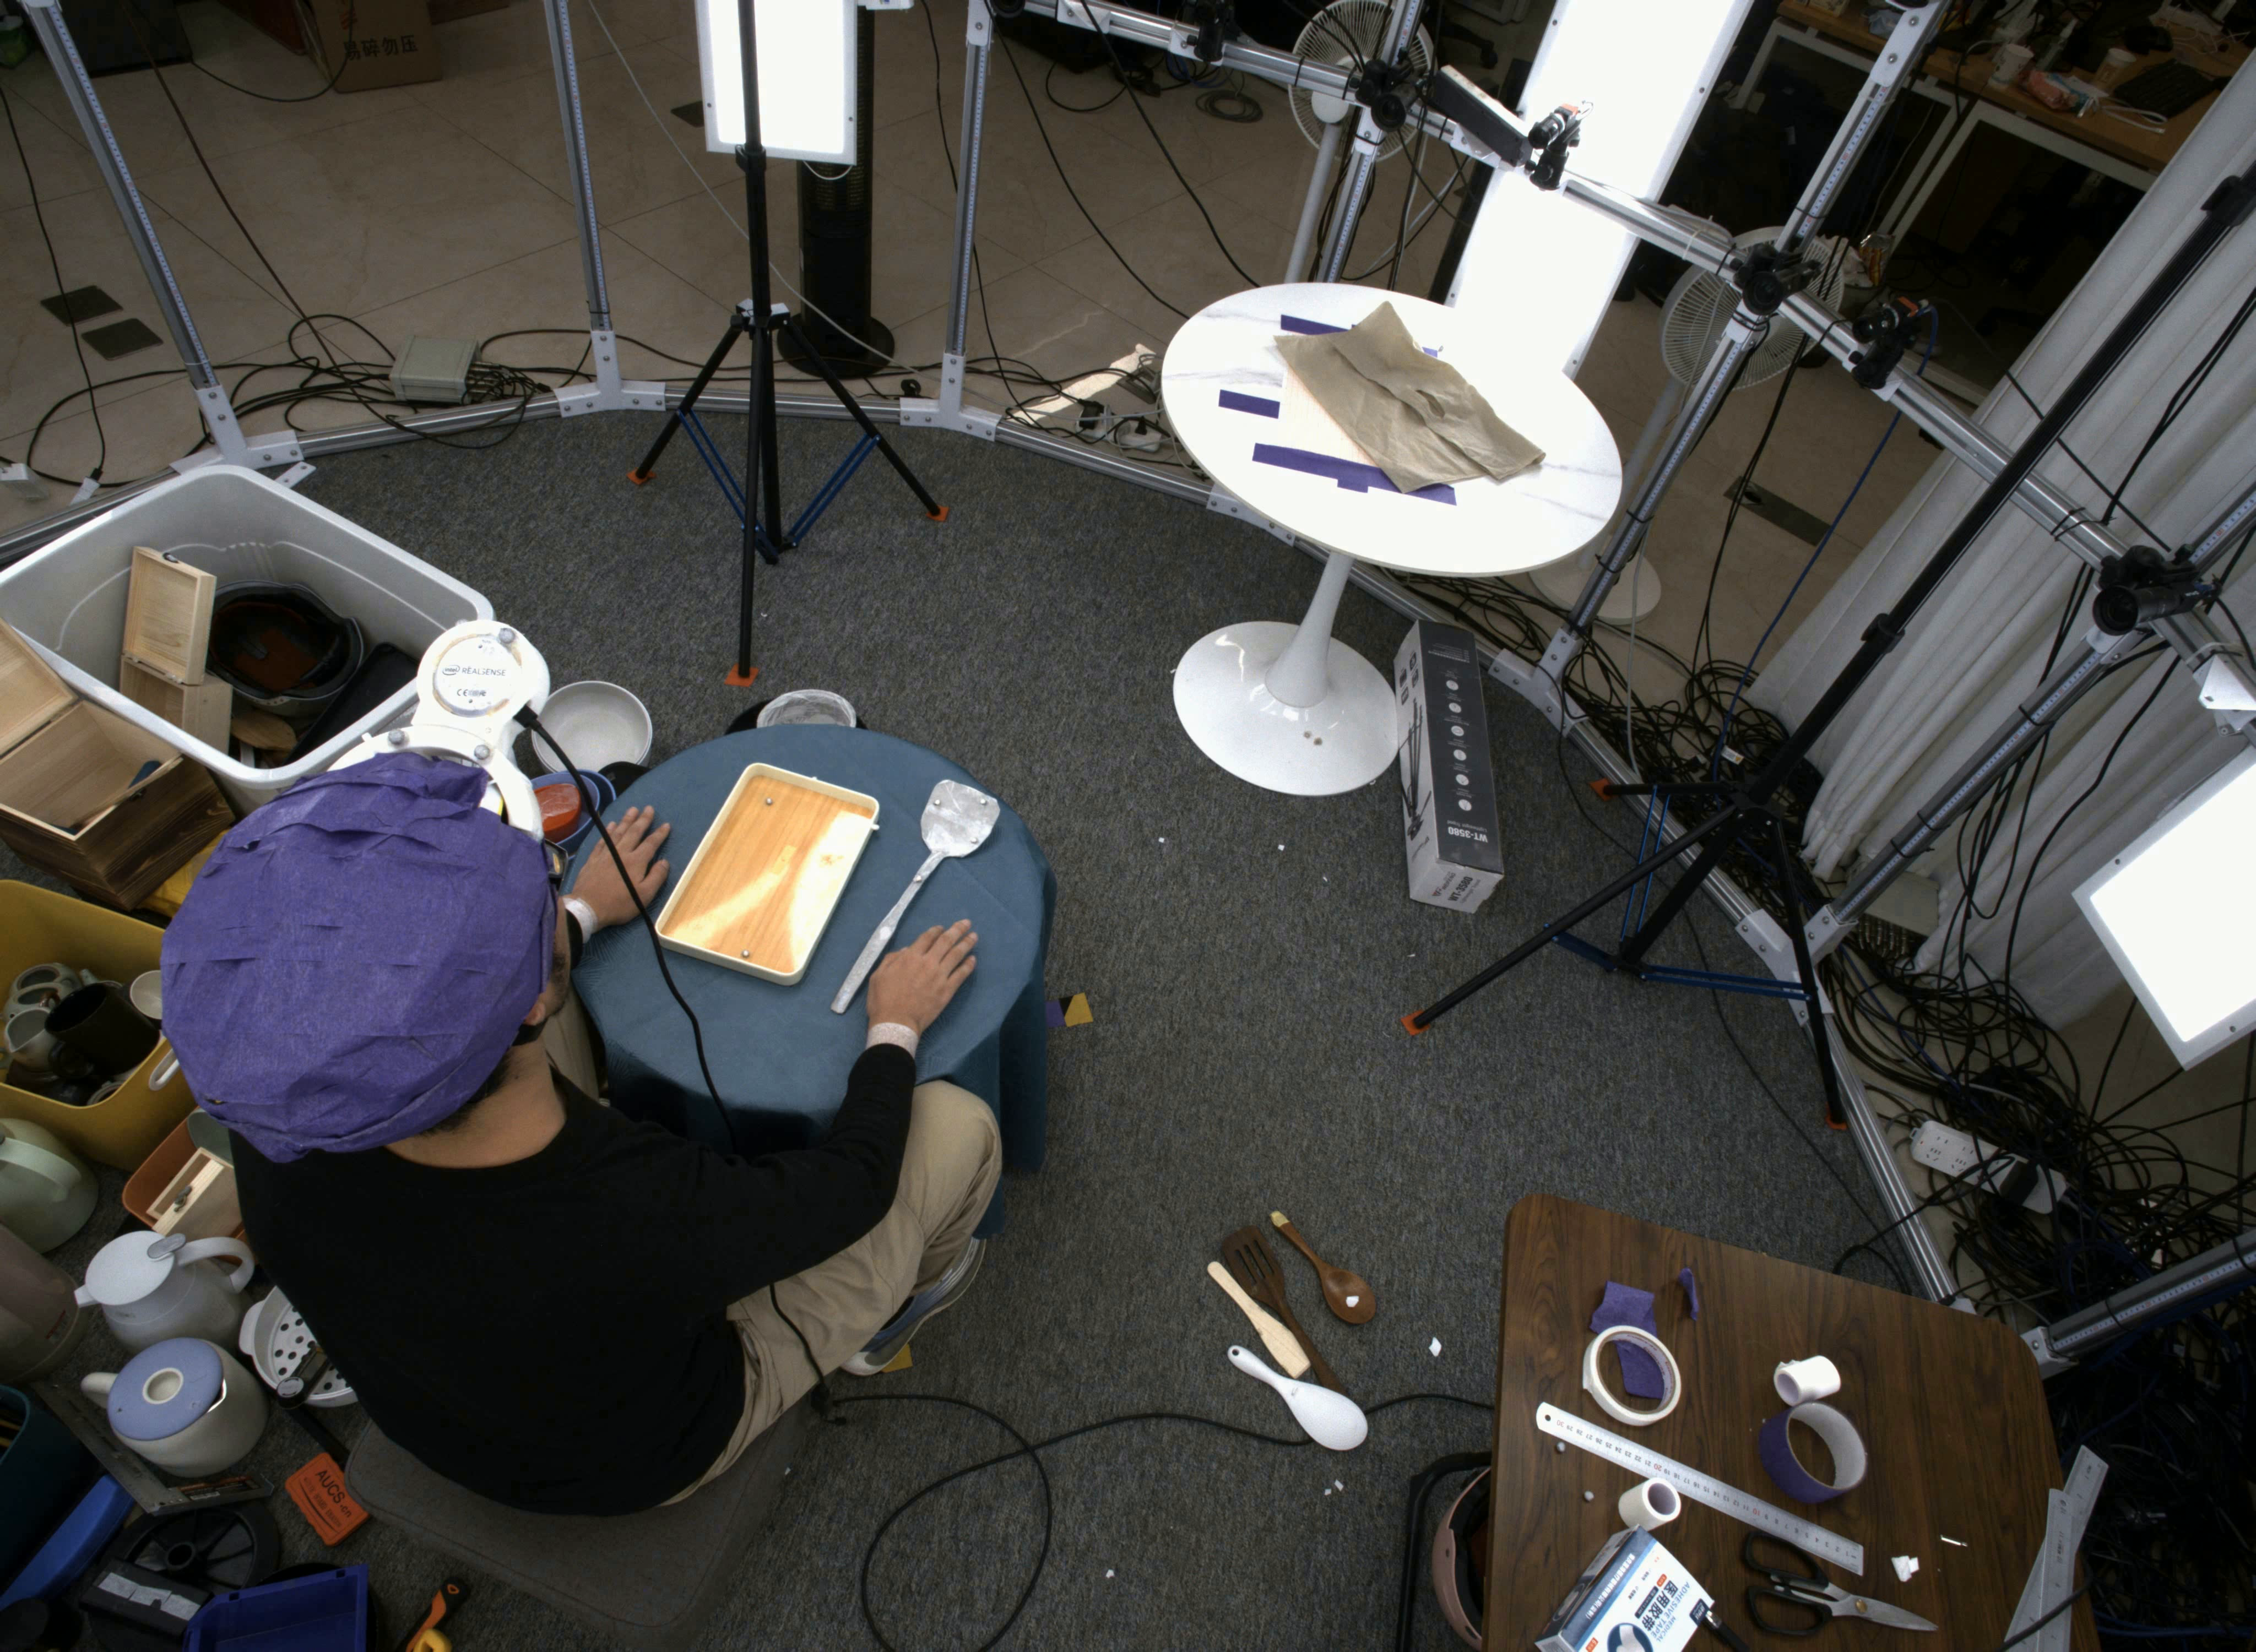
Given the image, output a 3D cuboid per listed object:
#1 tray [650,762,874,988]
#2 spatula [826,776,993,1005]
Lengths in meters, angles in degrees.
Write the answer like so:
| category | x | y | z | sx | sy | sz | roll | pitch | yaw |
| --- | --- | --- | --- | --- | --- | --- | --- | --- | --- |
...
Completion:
| category | x | y | z | sx | sy | sz | roll | pitch | yaw |
| --- | --- | --- | --- | --- | --- | --- | --- | --- | --- |
| tray | -0.461 | 0.054 | 1.651 | 0.190 | 0.028 | 0.297 | 18 | 52 | -1 |
| spatula | -0.288 | 0.080 | 1.670 | 0.097 | 0.045 | 0.362 | 25 | 52 | 4 |
